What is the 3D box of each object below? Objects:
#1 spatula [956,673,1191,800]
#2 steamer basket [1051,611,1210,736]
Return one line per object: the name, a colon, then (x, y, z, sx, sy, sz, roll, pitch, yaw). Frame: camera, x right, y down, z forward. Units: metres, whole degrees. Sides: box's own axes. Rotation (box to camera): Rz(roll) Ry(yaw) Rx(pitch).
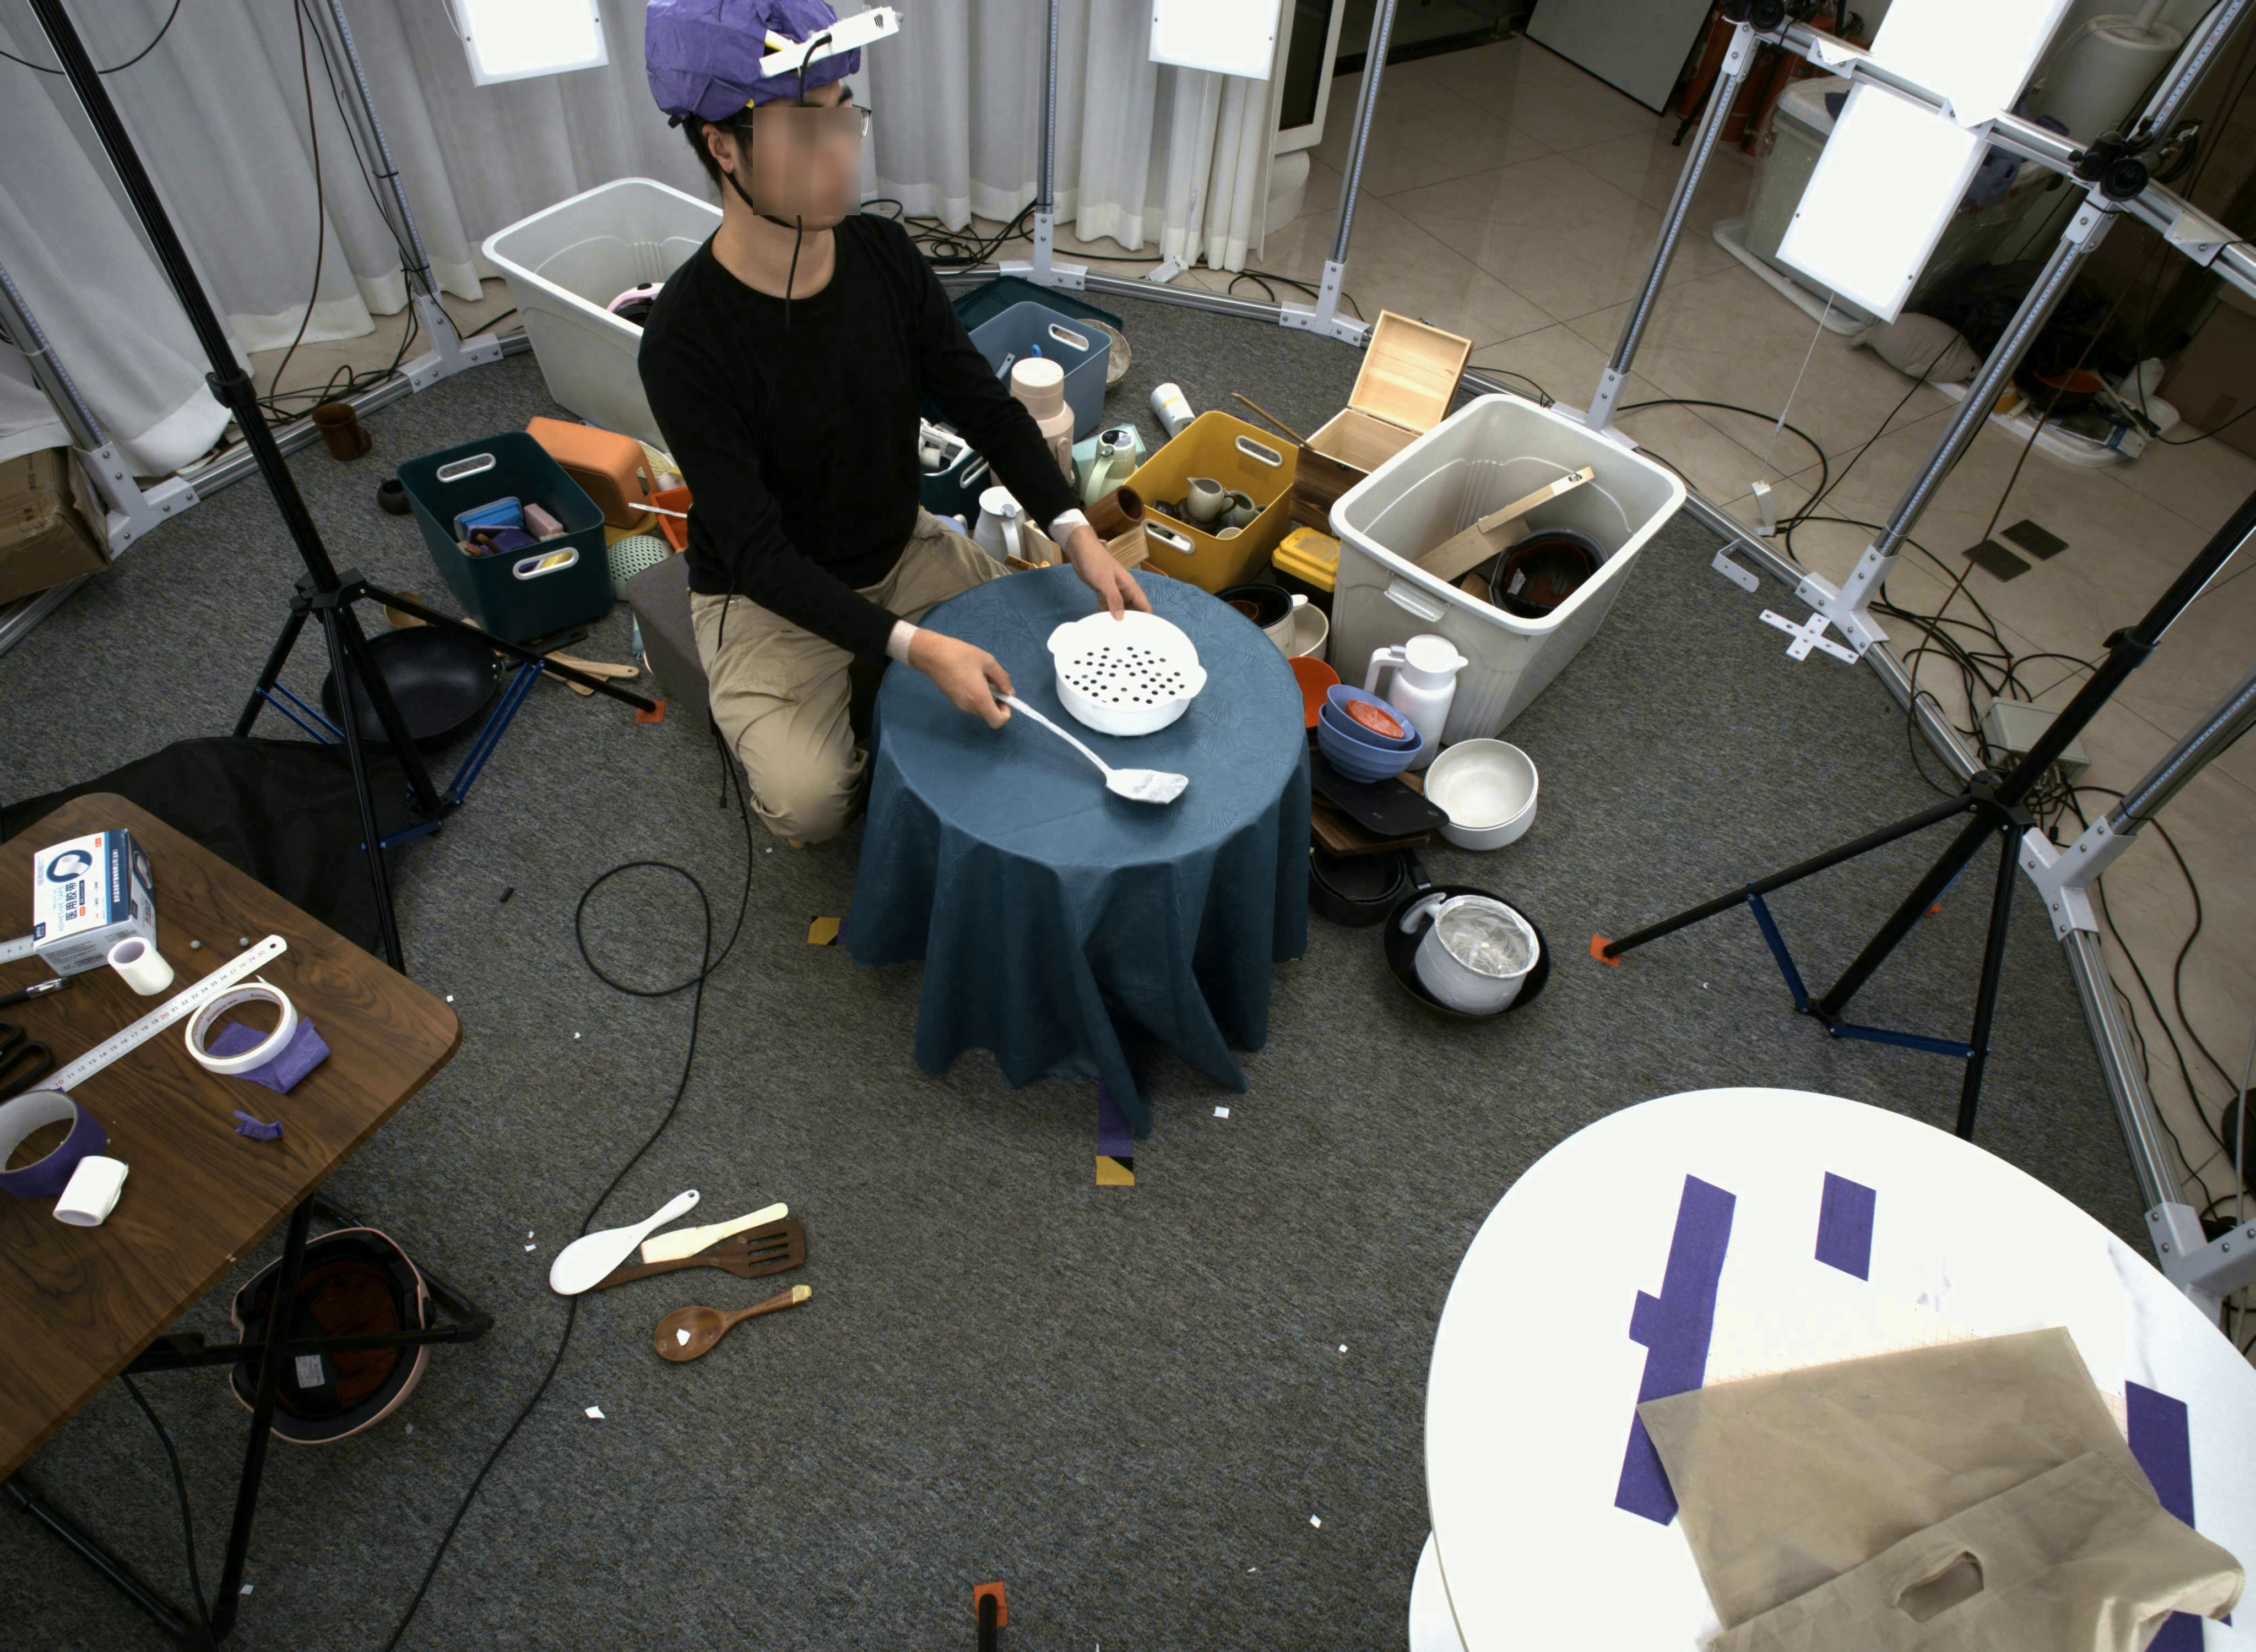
spatula: (-0.084, -0.127, 1.722, 0.367, 0.044, 0.100, 33, 33, 12)
steamer basket: (0.001, -0.214, 1.810, 0.232, 0.067, 0.205, 21, 50, 15)
